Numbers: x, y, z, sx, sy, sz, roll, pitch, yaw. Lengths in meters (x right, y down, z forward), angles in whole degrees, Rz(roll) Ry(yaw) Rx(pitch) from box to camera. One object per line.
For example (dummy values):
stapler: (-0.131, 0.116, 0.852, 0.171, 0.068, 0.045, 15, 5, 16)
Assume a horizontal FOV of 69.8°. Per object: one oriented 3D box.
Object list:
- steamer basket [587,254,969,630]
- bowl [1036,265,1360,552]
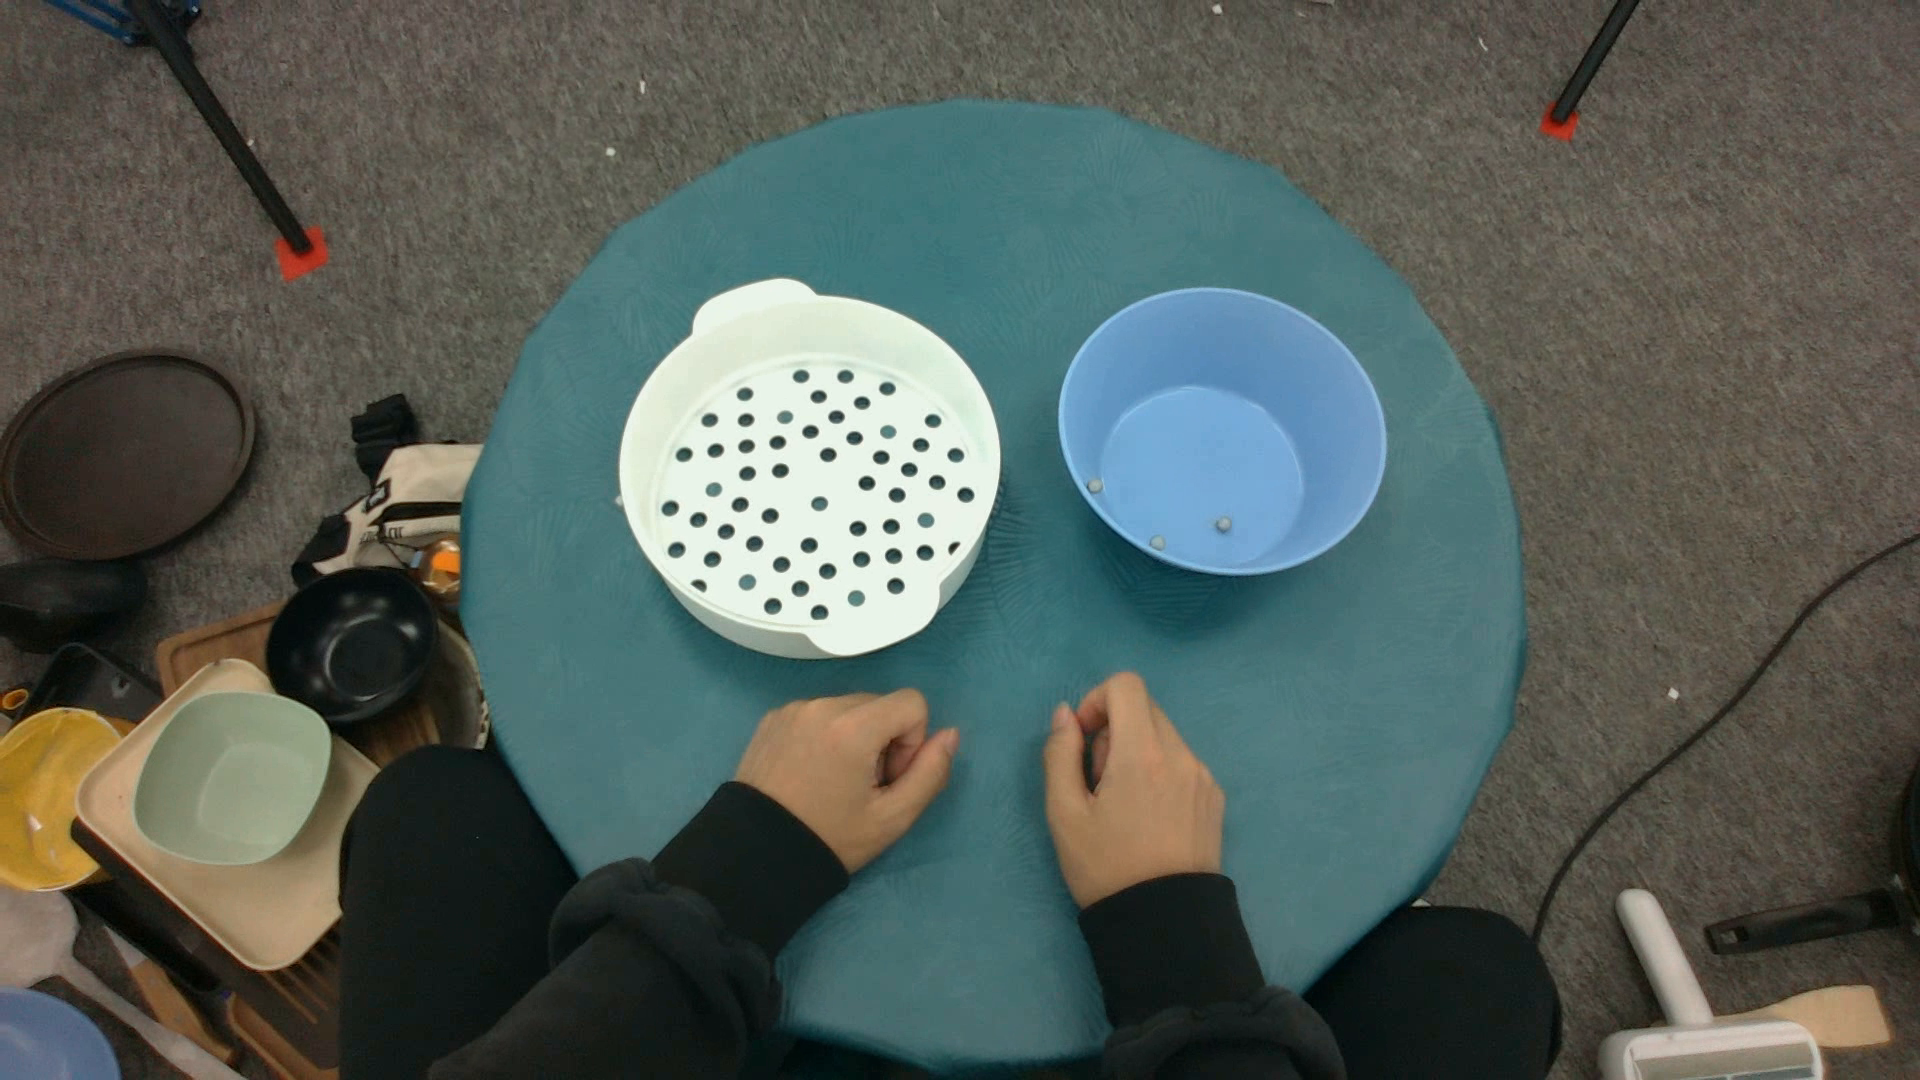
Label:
steamer basket: (-0.097, -0.049, 0.754, 0.202, 0.069, 0.231, -20, 66, -11)
bowl: (0.128, -0.062, 0.771, 0.176, 0.070, 0.176, 1, 66, -1)
